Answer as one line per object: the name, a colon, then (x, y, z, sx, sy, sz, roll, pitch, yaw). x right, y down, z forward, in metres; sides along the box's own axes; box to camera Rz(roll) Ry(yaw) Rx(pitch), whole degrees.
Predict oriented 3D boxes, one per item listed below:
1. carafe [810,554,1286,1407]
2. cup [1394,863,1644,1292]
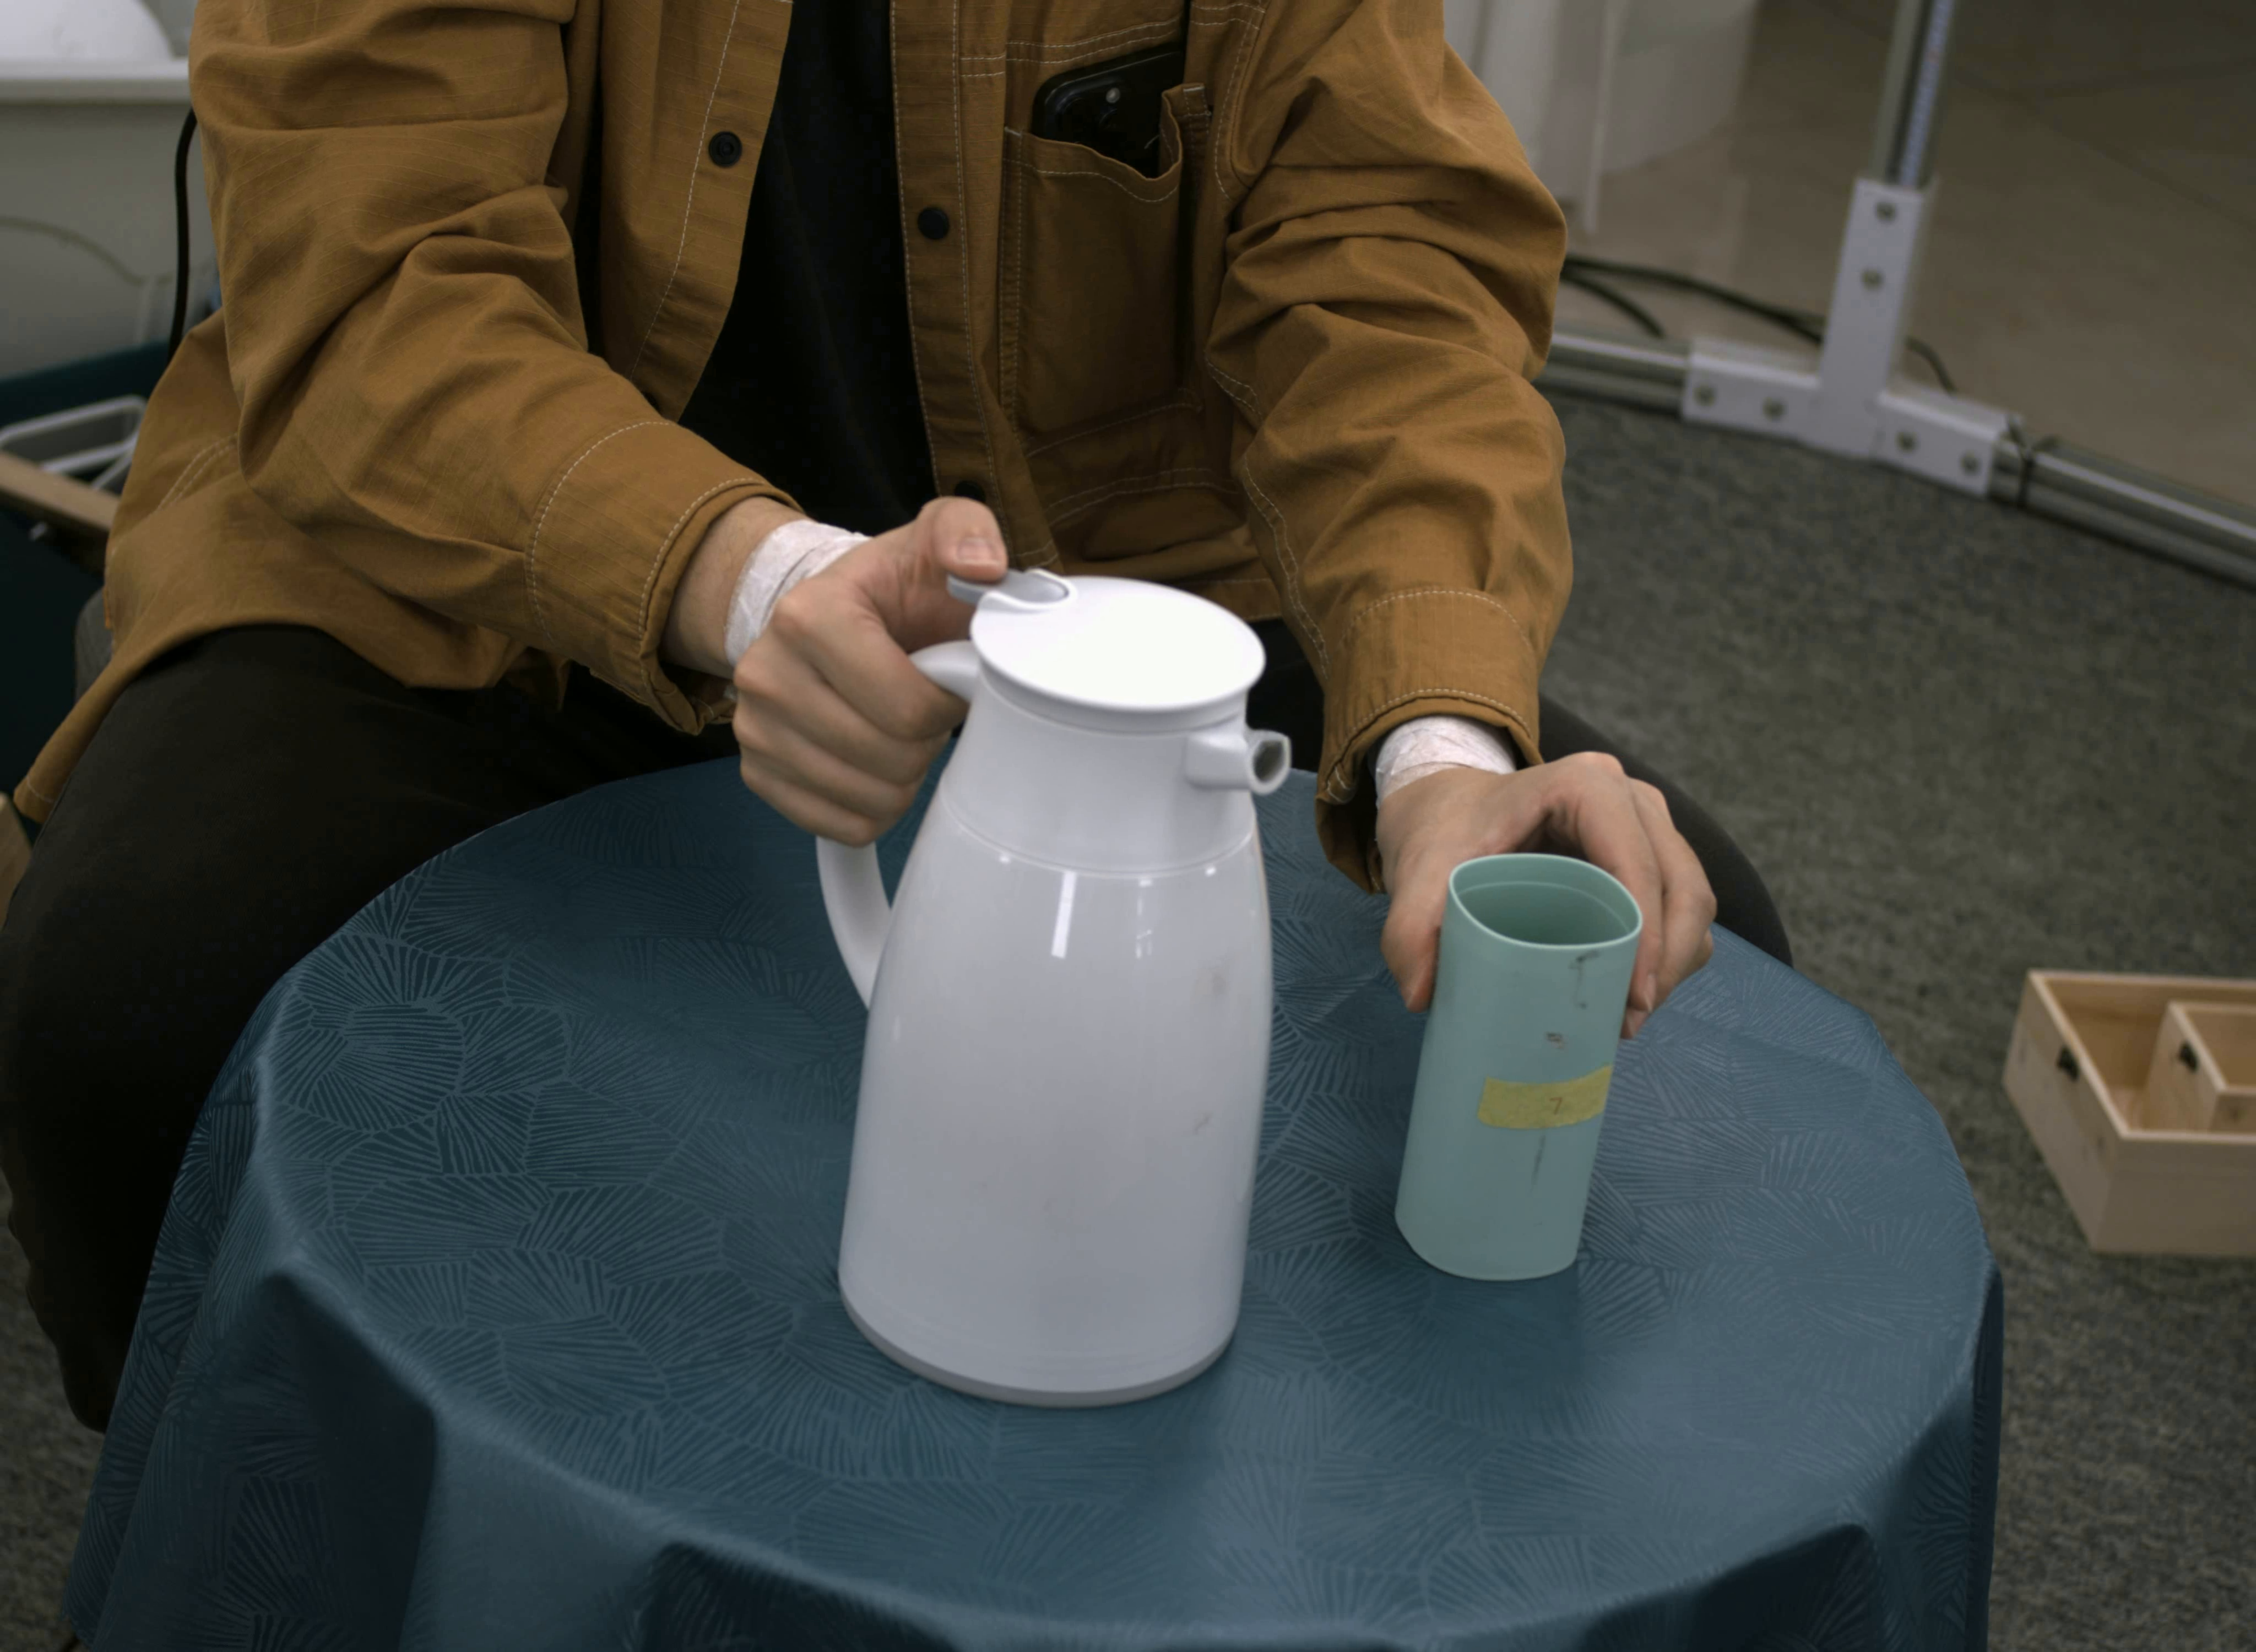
carafe: (-0.033, 0.039, 1.692, 0.169, 0.248, 0.132, 22, 31, 30)
cup: (0.129, 0.083, 1.775, 0.066, 0.132, 0.067, 7, 28, -4)
